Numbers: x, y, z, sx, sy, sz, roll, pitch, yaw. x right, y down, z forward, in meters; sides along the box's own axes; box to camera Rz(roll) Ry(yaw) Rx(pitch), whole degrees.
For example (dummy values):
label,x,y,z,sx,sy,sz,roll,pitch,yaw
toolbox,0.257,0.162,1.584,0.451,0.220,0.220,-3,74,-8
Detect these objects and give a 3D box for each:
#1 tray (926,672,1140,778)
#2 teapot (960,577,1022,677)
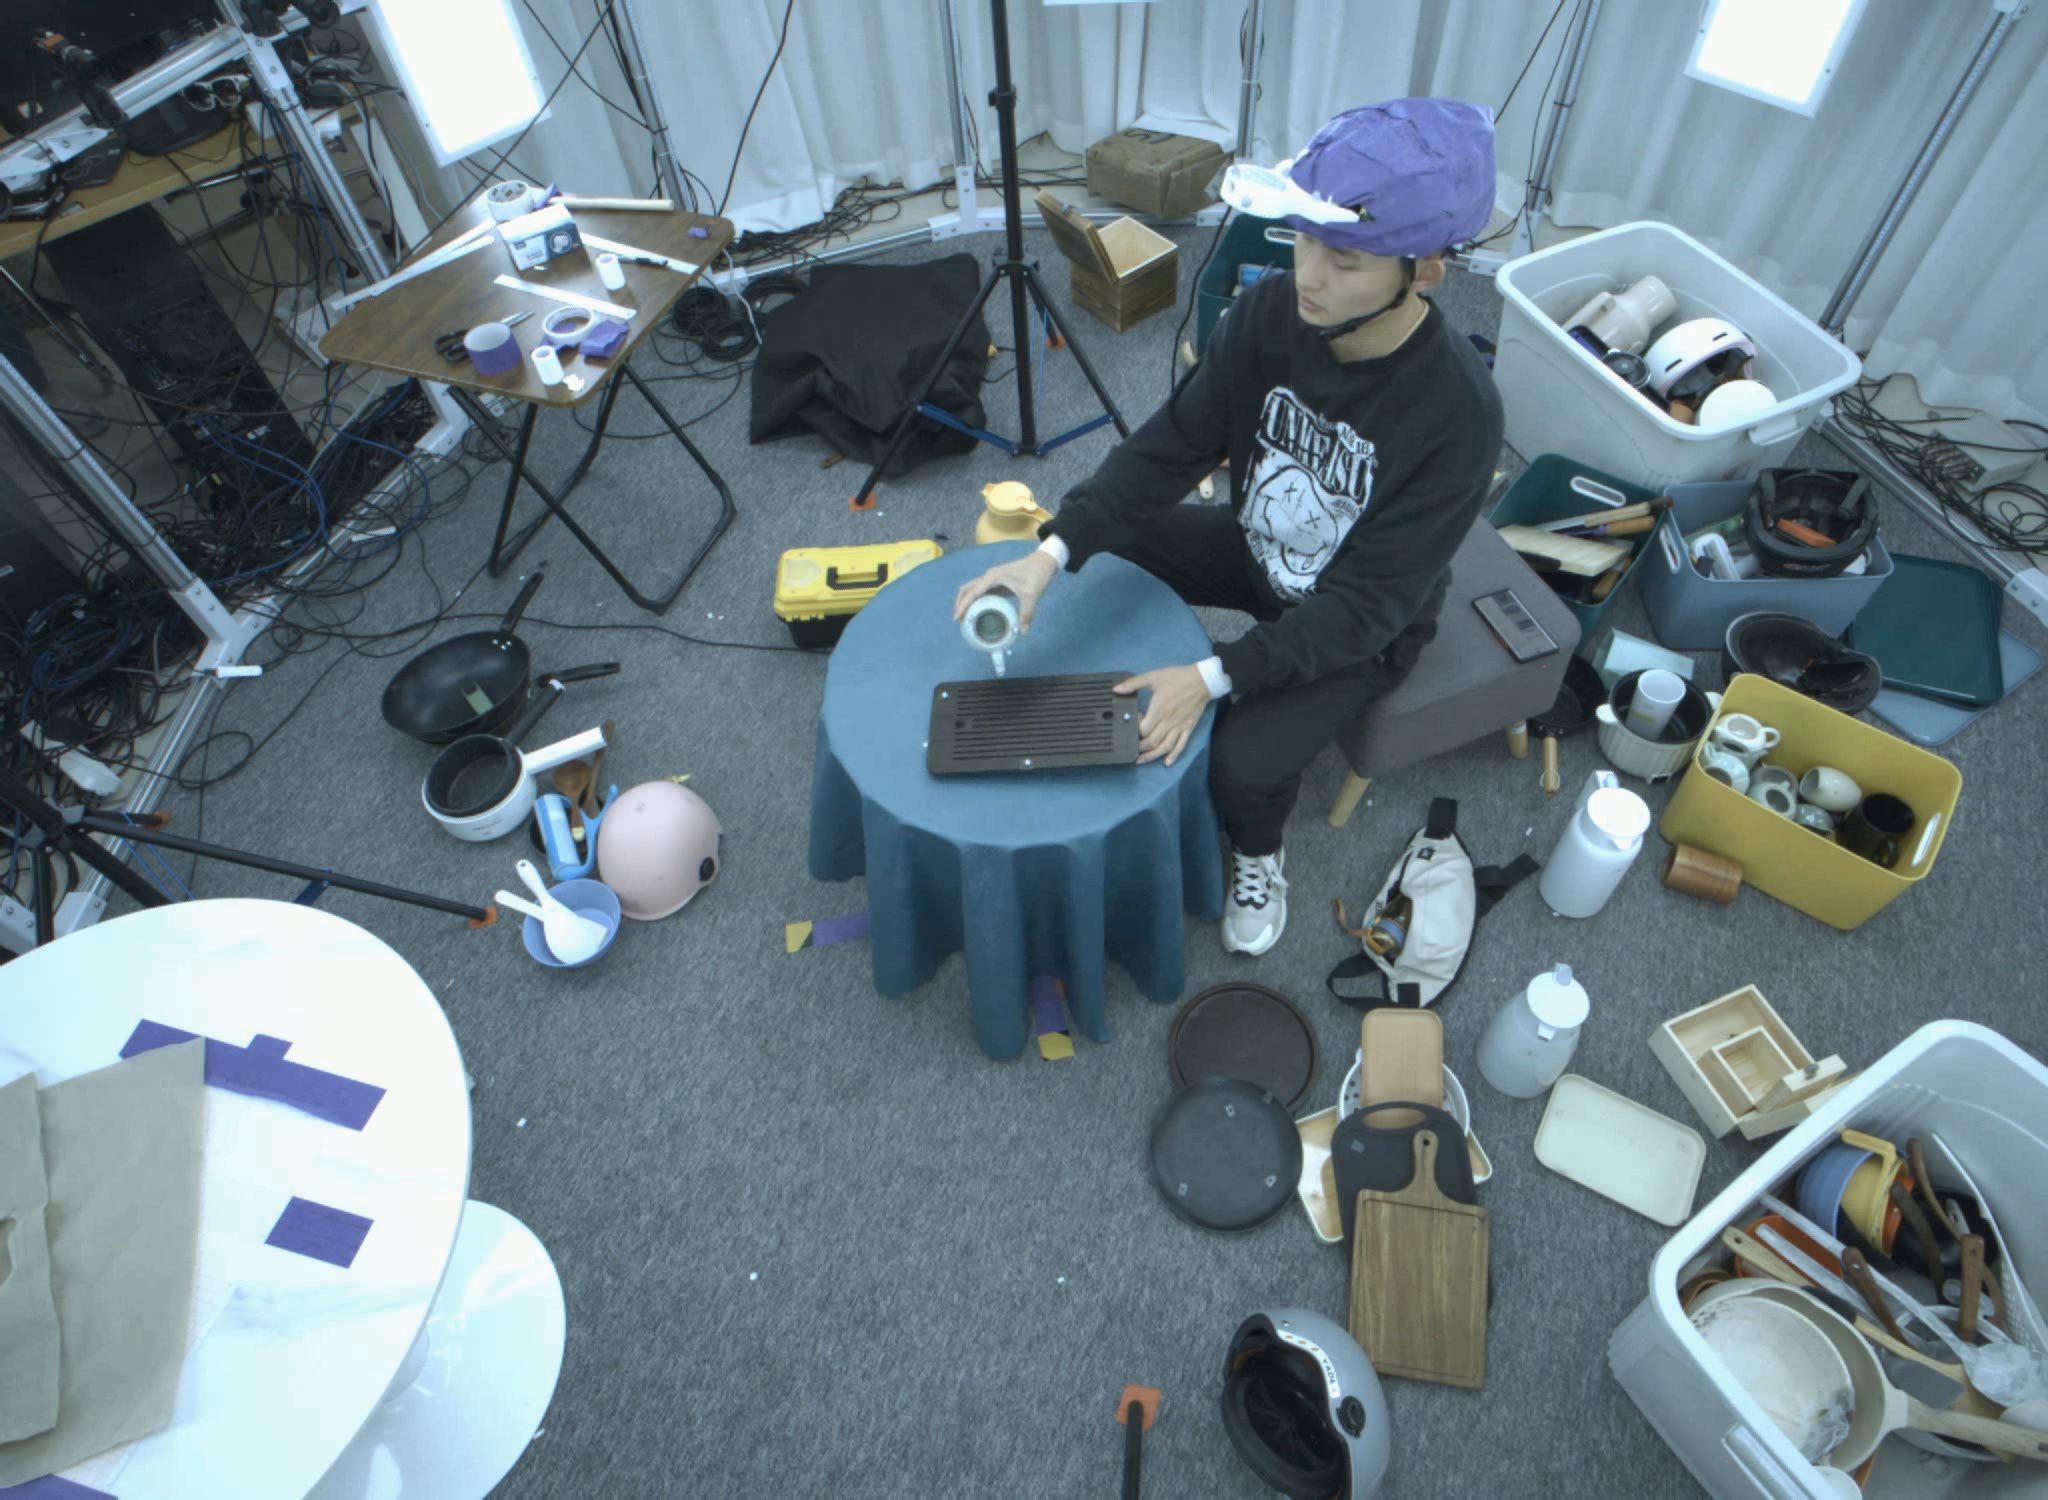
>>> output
label,x,y,z,sx,sy,sz,roll,pitch,yaw
tray,0.014,-0.035,1.783,0.305,0.019,0.168,-3,53,5
teapot,-0.048,-0.181,1.772,0.088,0.145,0.074,-10,17,-2
